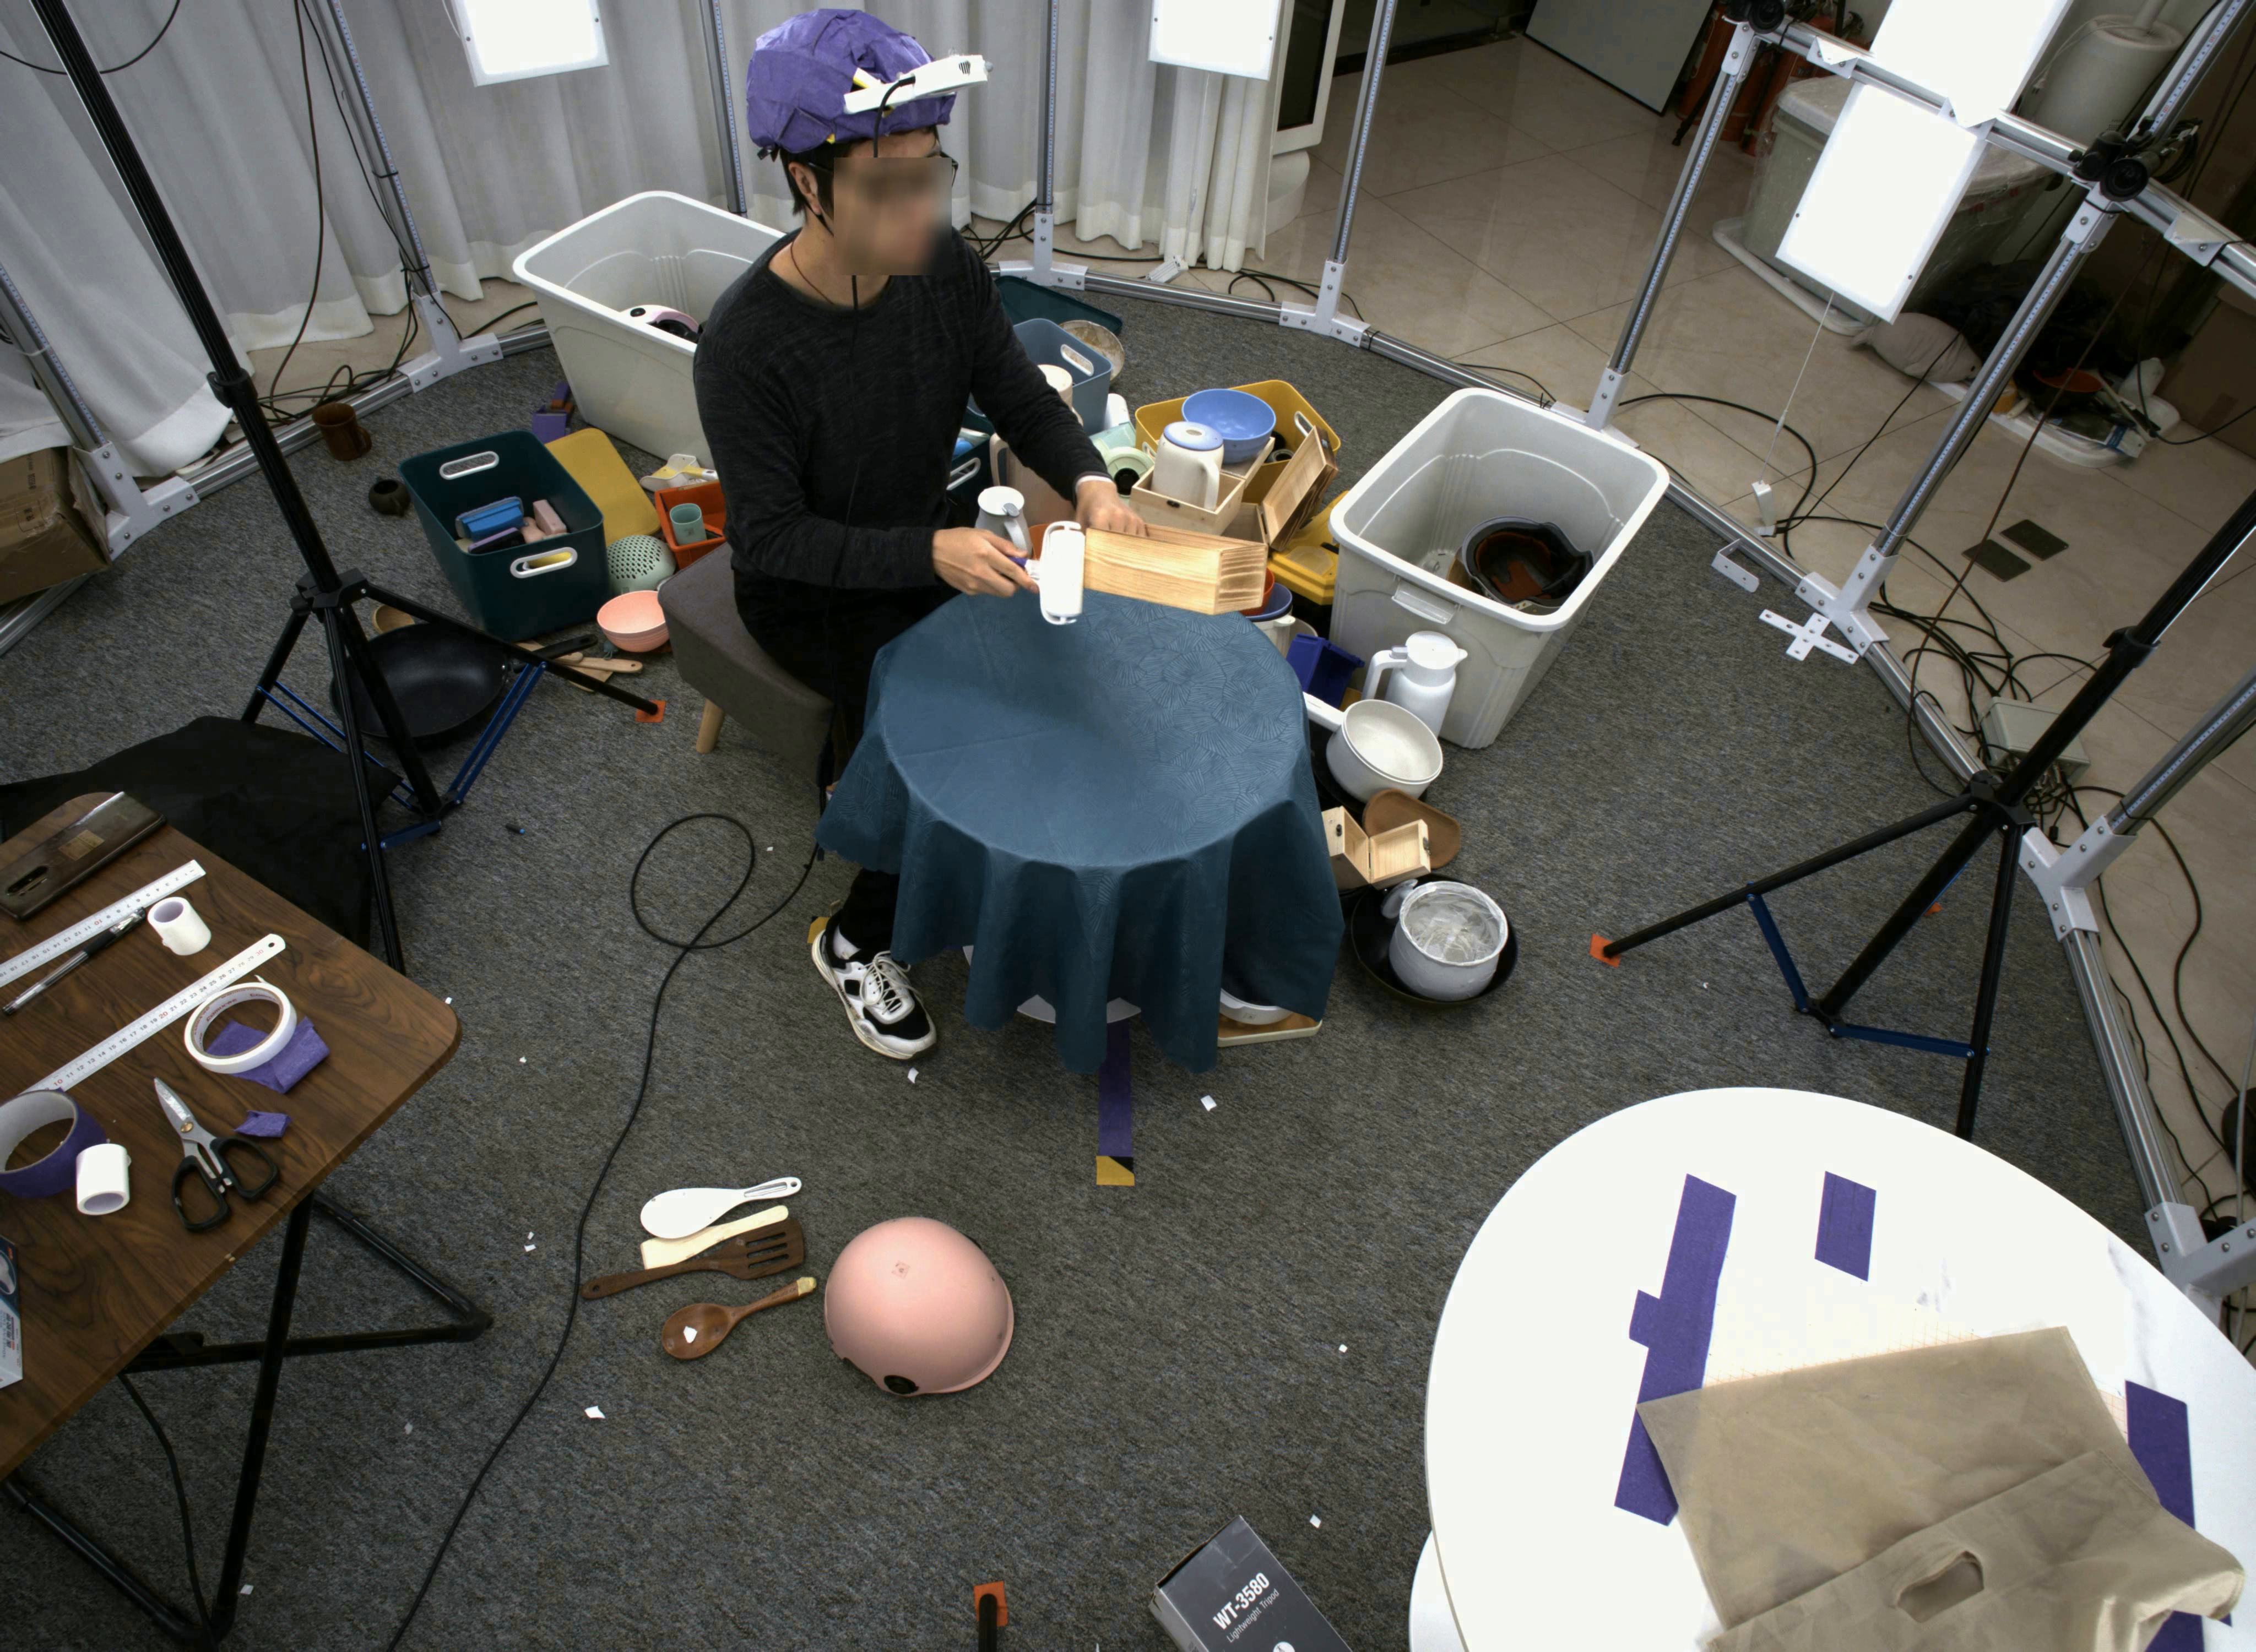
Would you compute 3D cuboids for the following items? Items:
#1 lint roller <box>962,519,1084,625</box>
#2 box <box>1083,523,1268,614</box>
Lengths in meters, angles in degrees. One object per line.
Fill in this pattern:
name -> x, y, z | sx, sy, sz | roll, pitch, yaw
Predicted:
lint roller -> -0.142, -0.336, 1.676 | 0.181, 0.131, 0.050 | 9, 15, 18
box -> 0.058, -0.329, 1.627 | 0.214, 0.079, 0.108 | 18, 23, 36
